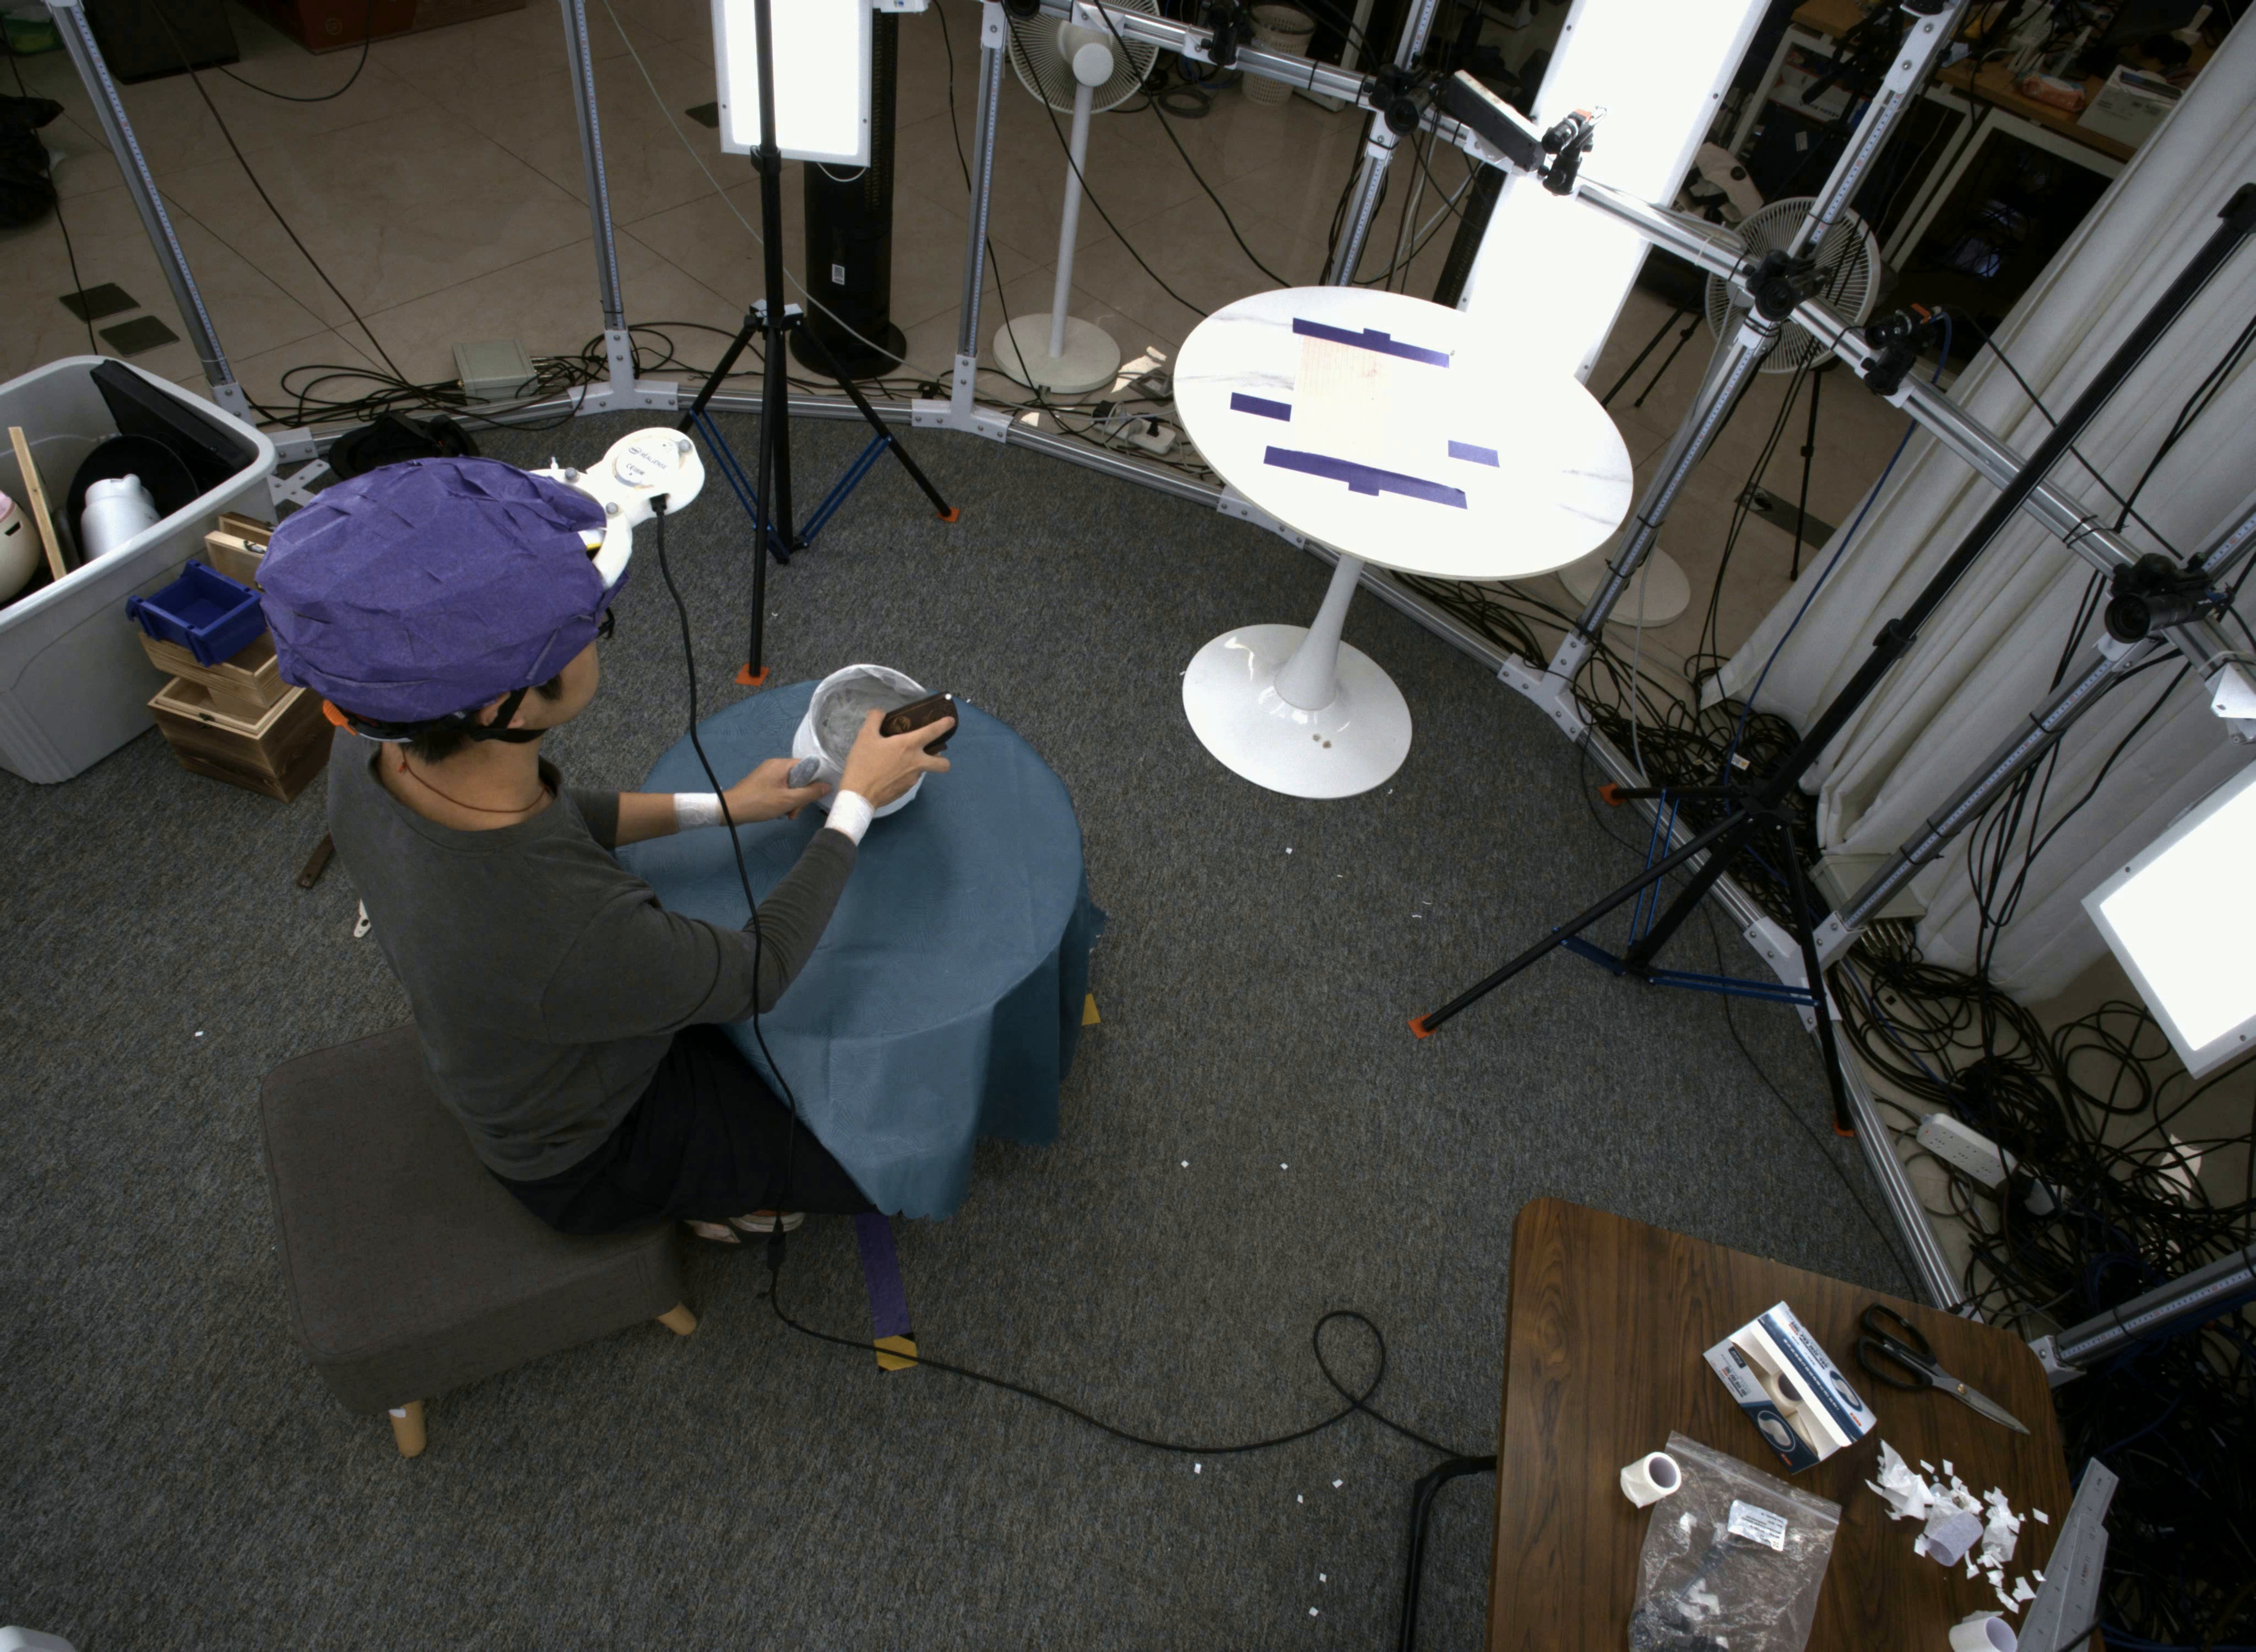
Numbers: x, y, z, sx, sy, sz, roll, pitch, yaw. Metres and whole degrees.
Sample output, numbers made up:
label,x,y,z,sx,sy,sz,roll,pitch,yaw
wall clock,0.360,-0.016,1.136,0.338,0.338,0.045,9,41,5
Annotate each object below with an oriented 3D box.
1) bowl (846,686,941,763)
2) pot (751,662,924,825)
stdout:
label,x,y,z,sx,sy,sz,roll,pitch,yaw
bowl,-0.292,-0.123,1.652,0.118,0.115,0.071,-30,102,-31
pot,-0.387,-0.091,1.703,0.179,0.136,0.234,50,55,2
